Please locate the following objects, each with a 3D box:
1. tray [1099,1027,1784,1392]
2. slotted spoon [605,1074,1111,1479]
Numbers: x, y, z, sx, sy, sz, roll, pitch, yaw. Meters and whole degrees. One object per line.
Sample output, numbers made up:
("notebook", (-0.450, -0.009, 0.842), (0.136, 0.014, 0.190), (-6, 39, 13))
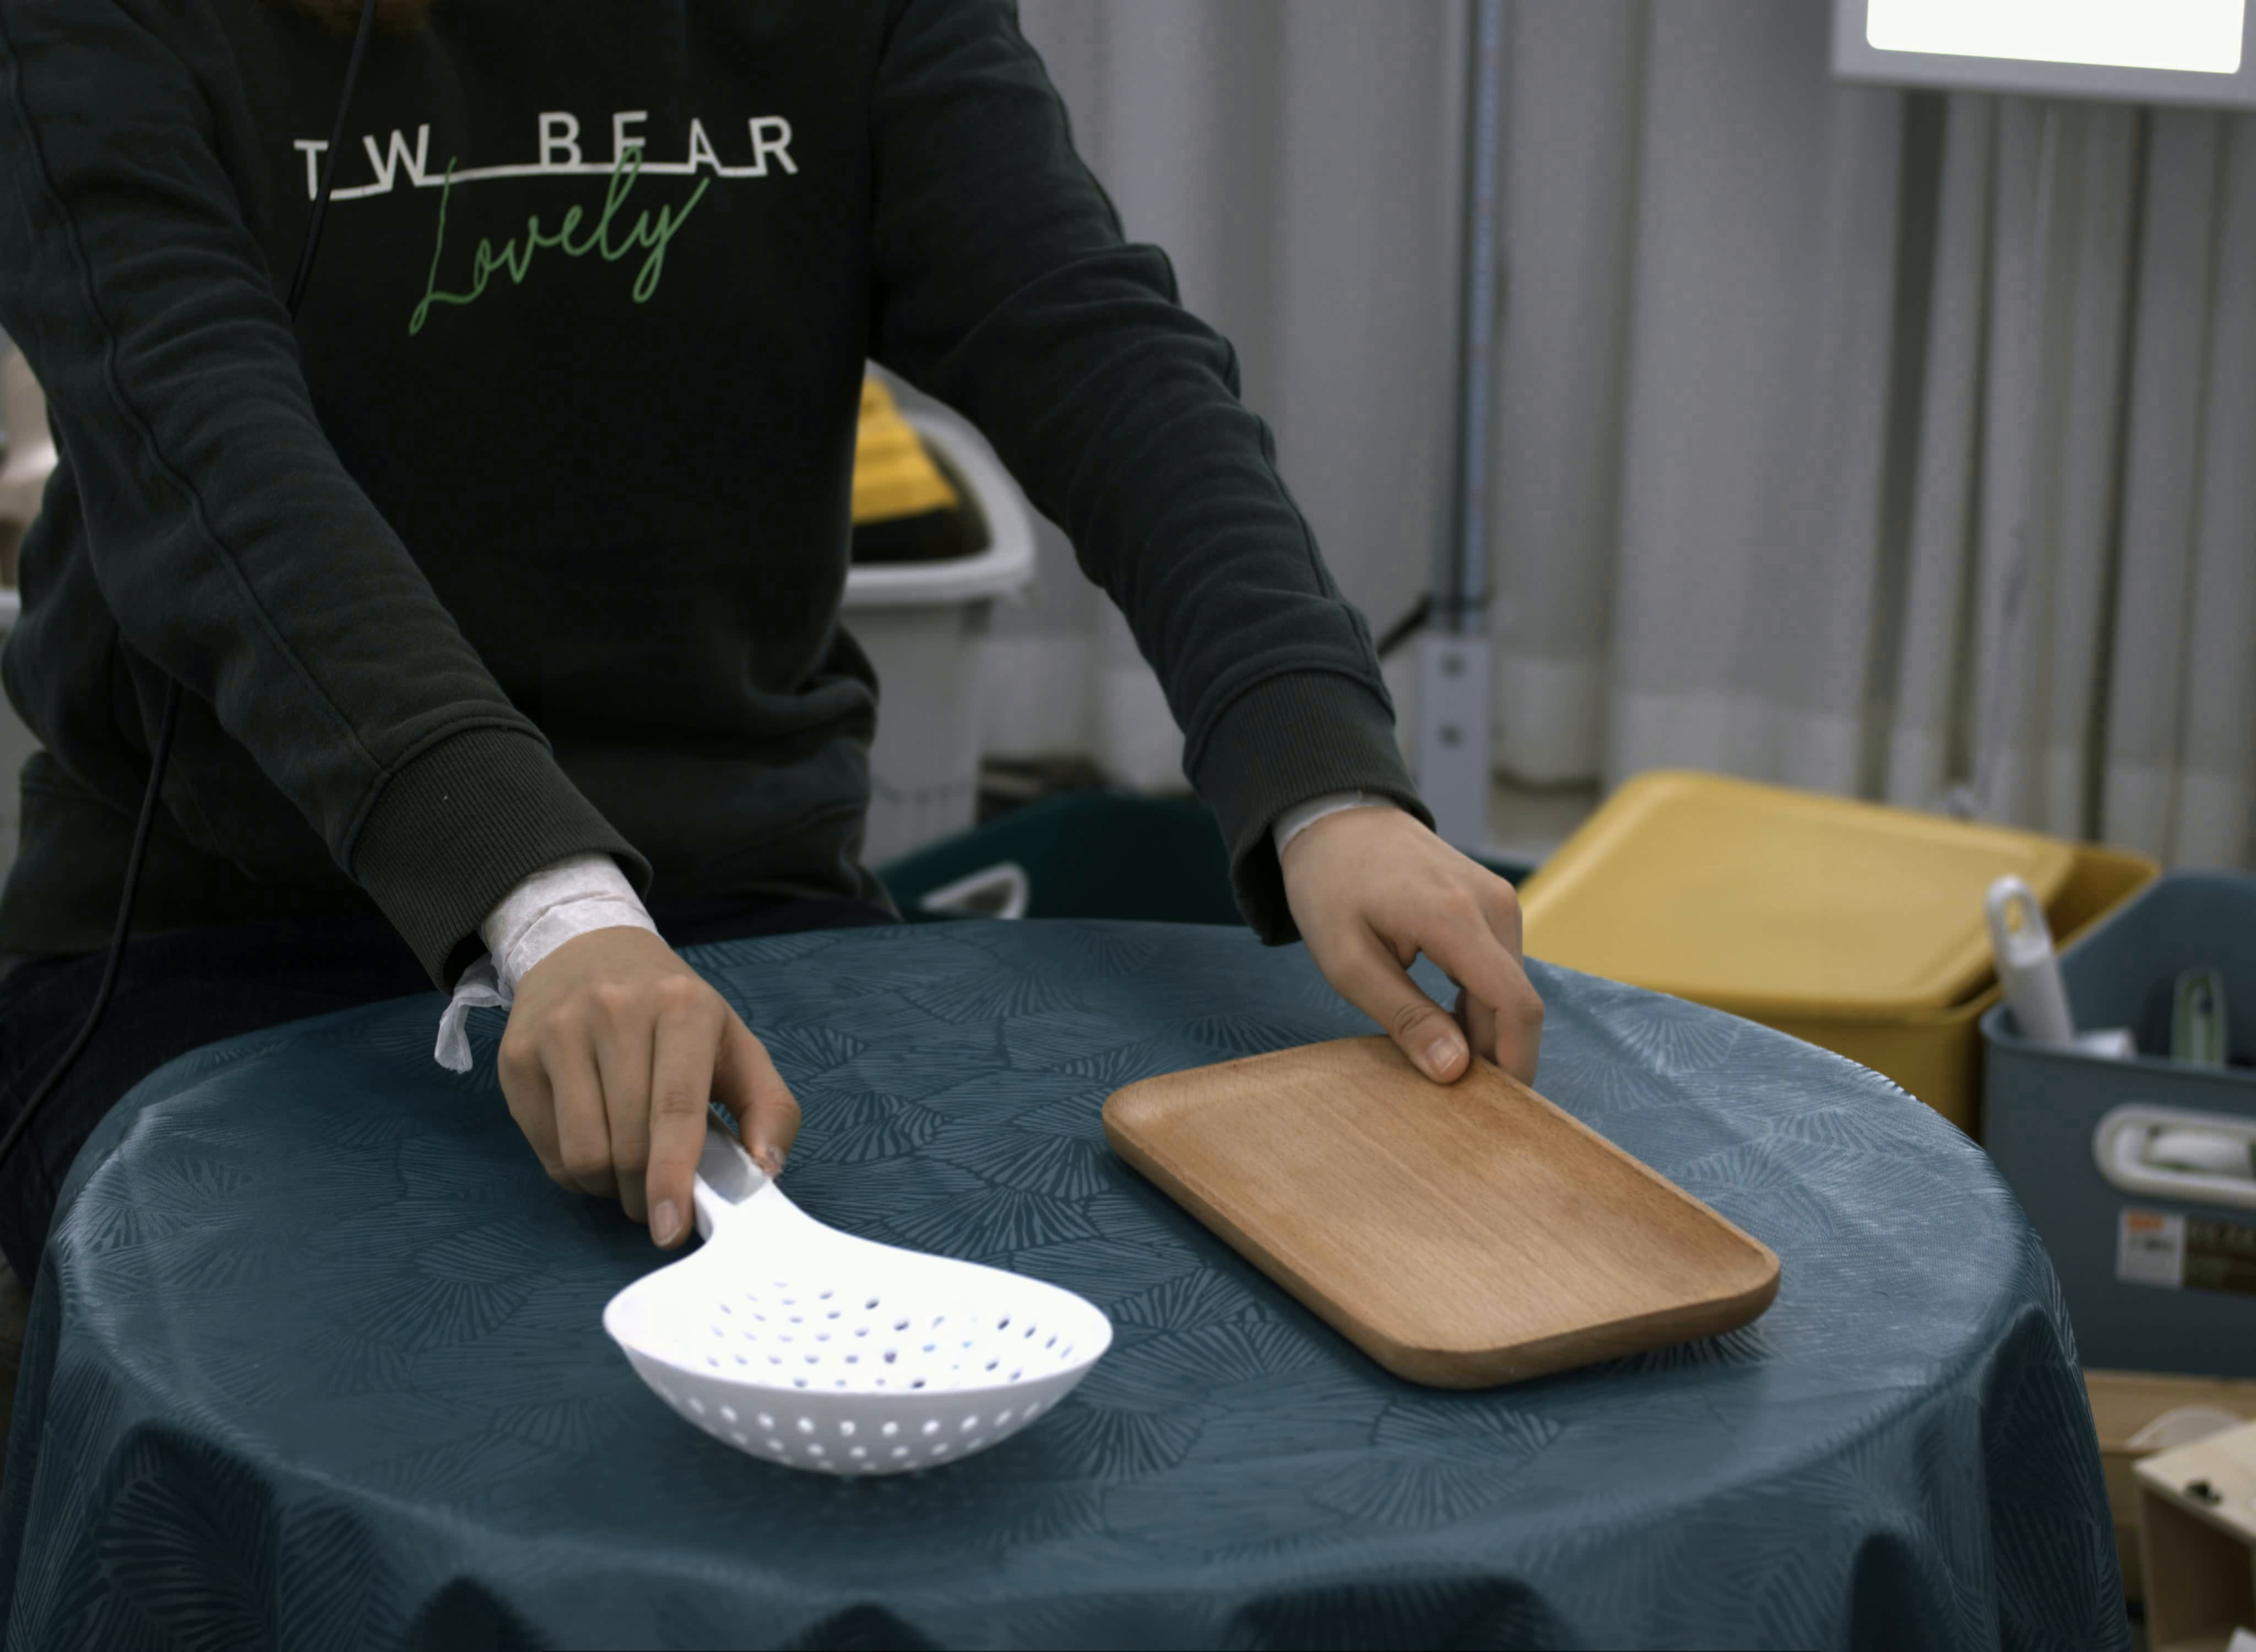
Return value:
("tray", (0.089, 0.112, 1.583), (0.131, 0.023, 0.248), (-8, 18, -22))
("slotted spoon", (-0.103, 0.119, 1.506), (0.136, 0.046, 0.346), (1, 16, -17))
